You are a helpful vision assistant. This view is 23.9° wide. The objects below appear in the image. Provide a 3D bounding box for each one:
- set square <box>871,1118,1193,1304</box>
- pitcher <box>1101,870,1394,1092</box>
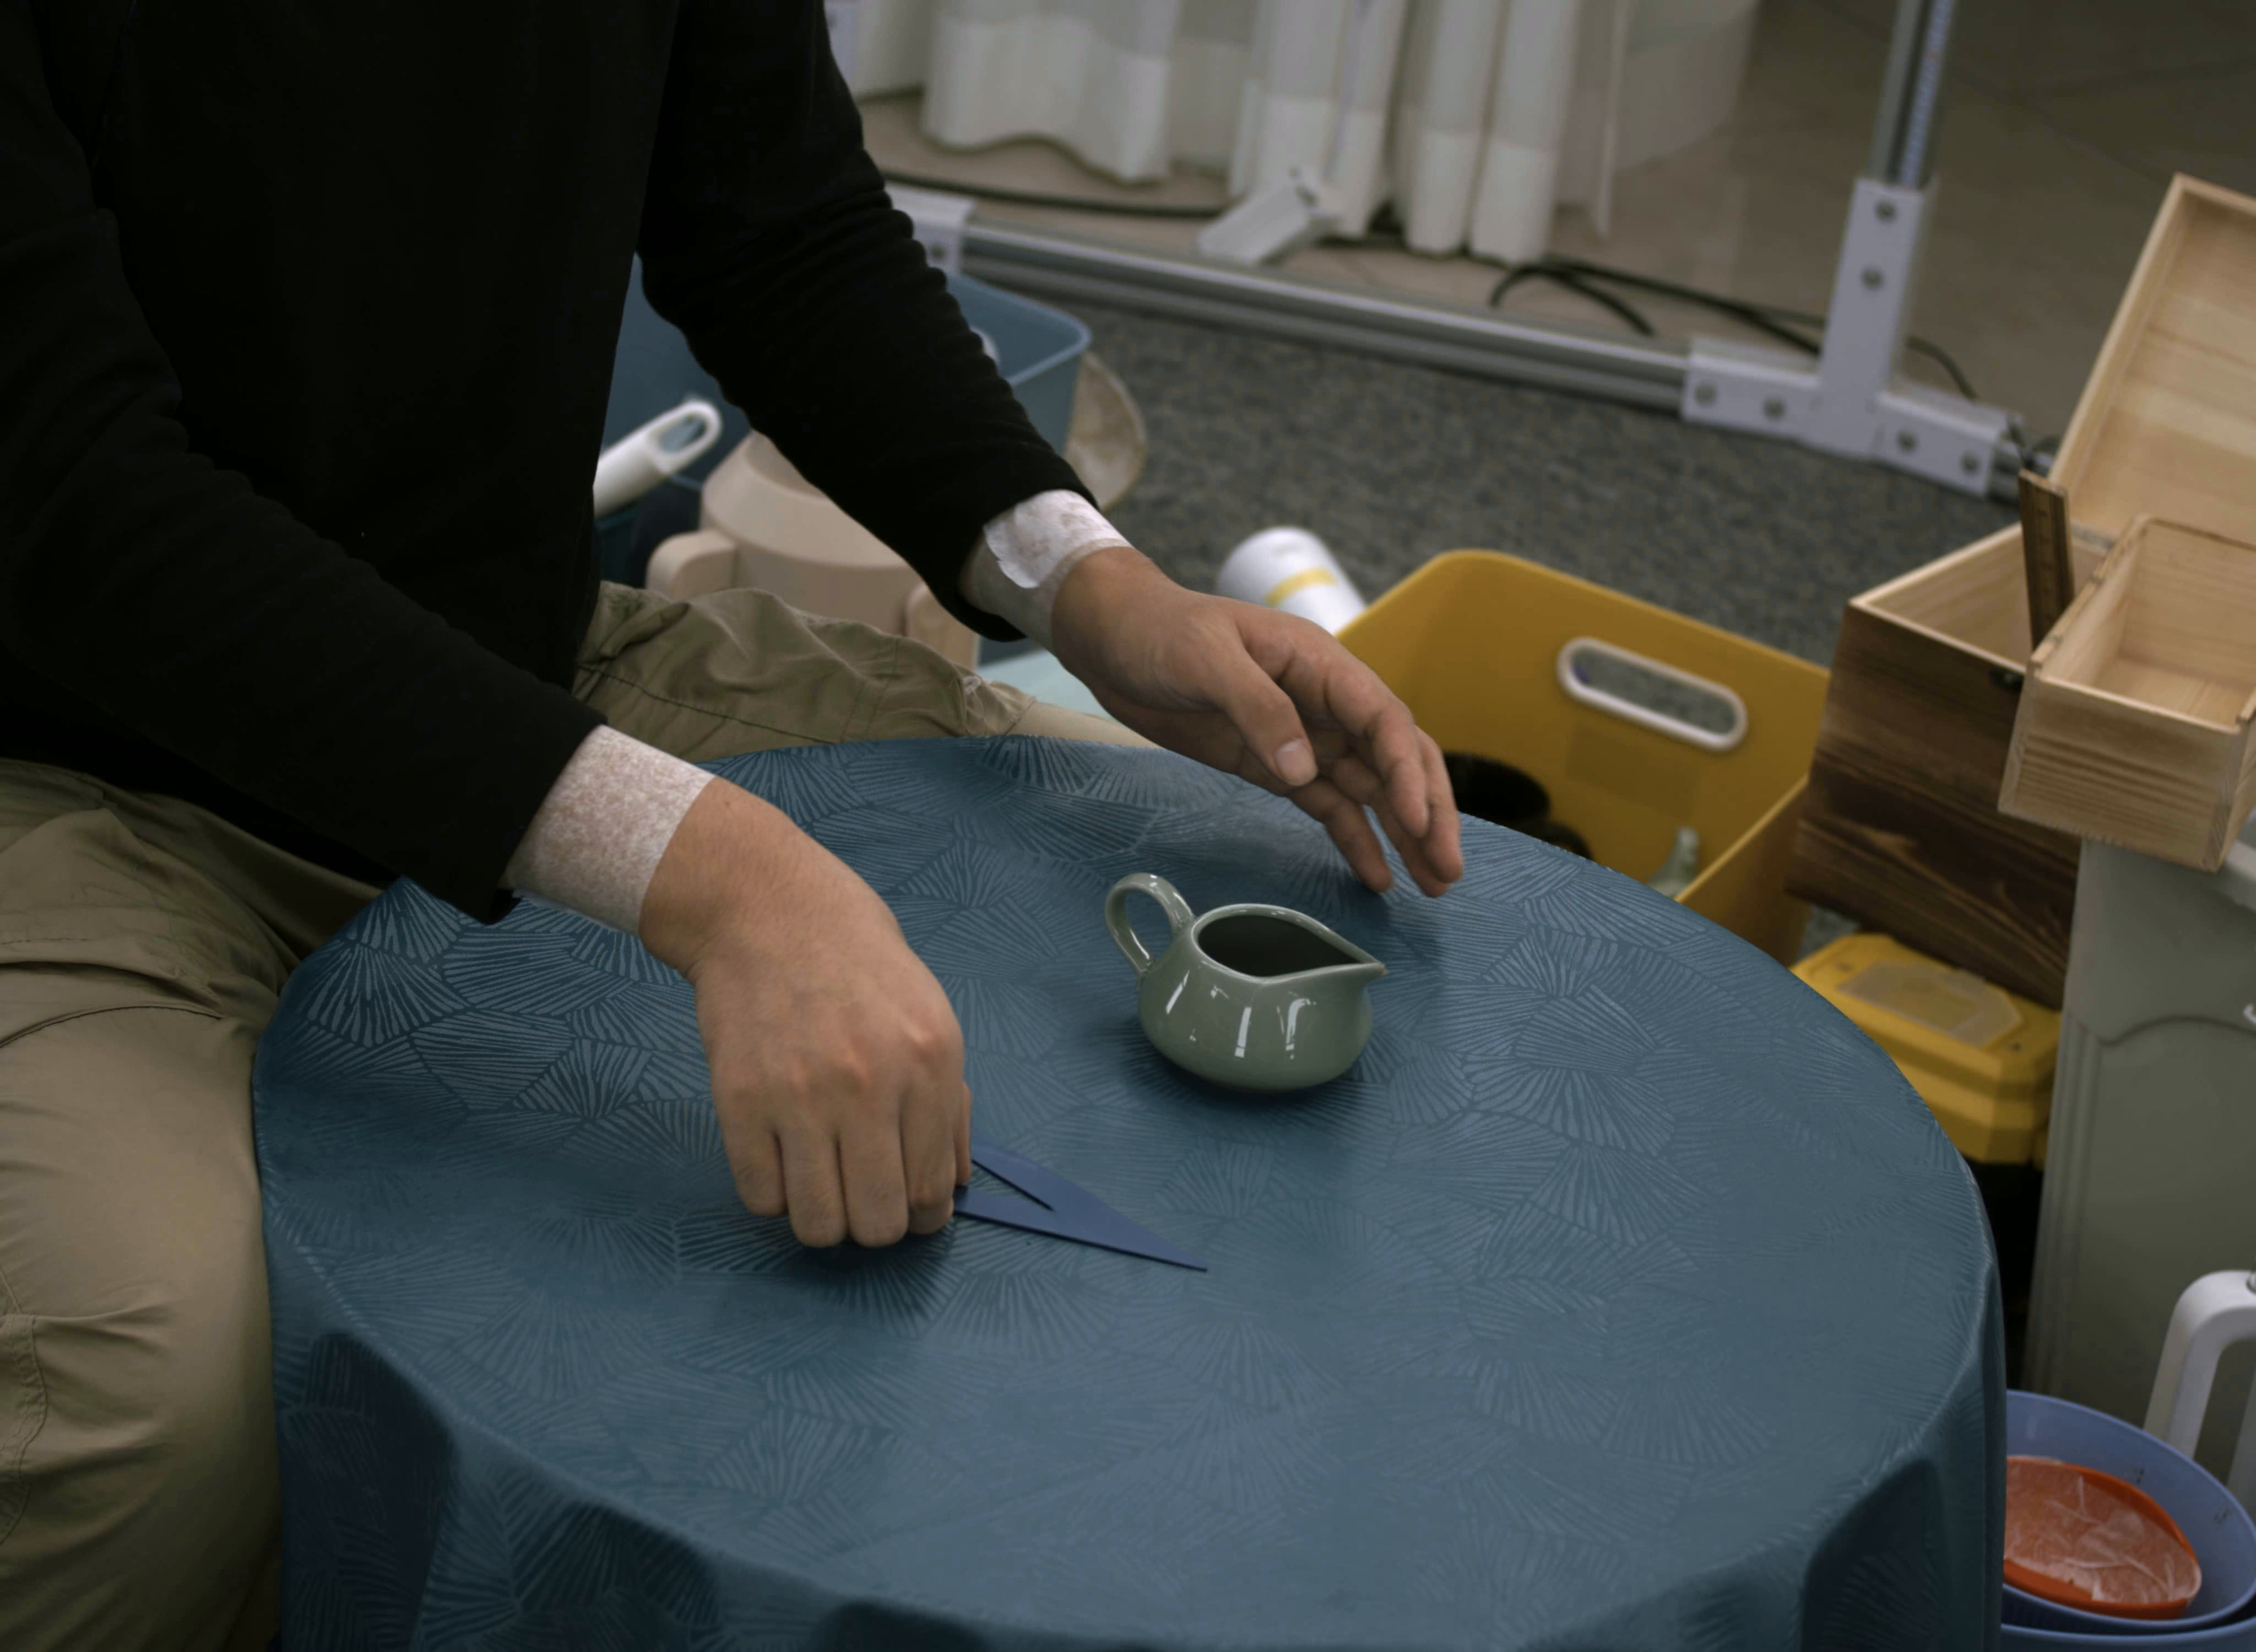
[{"bbox_3d":[-0.040,0.133,1.772,0.061,0.006,0.133,-16,35,-39],"label":"set square"},{"bbox_3d":[0.040,0.055,1.883,0.113,0.056,0.084,19,27,23],"label":"pitcher"}]
